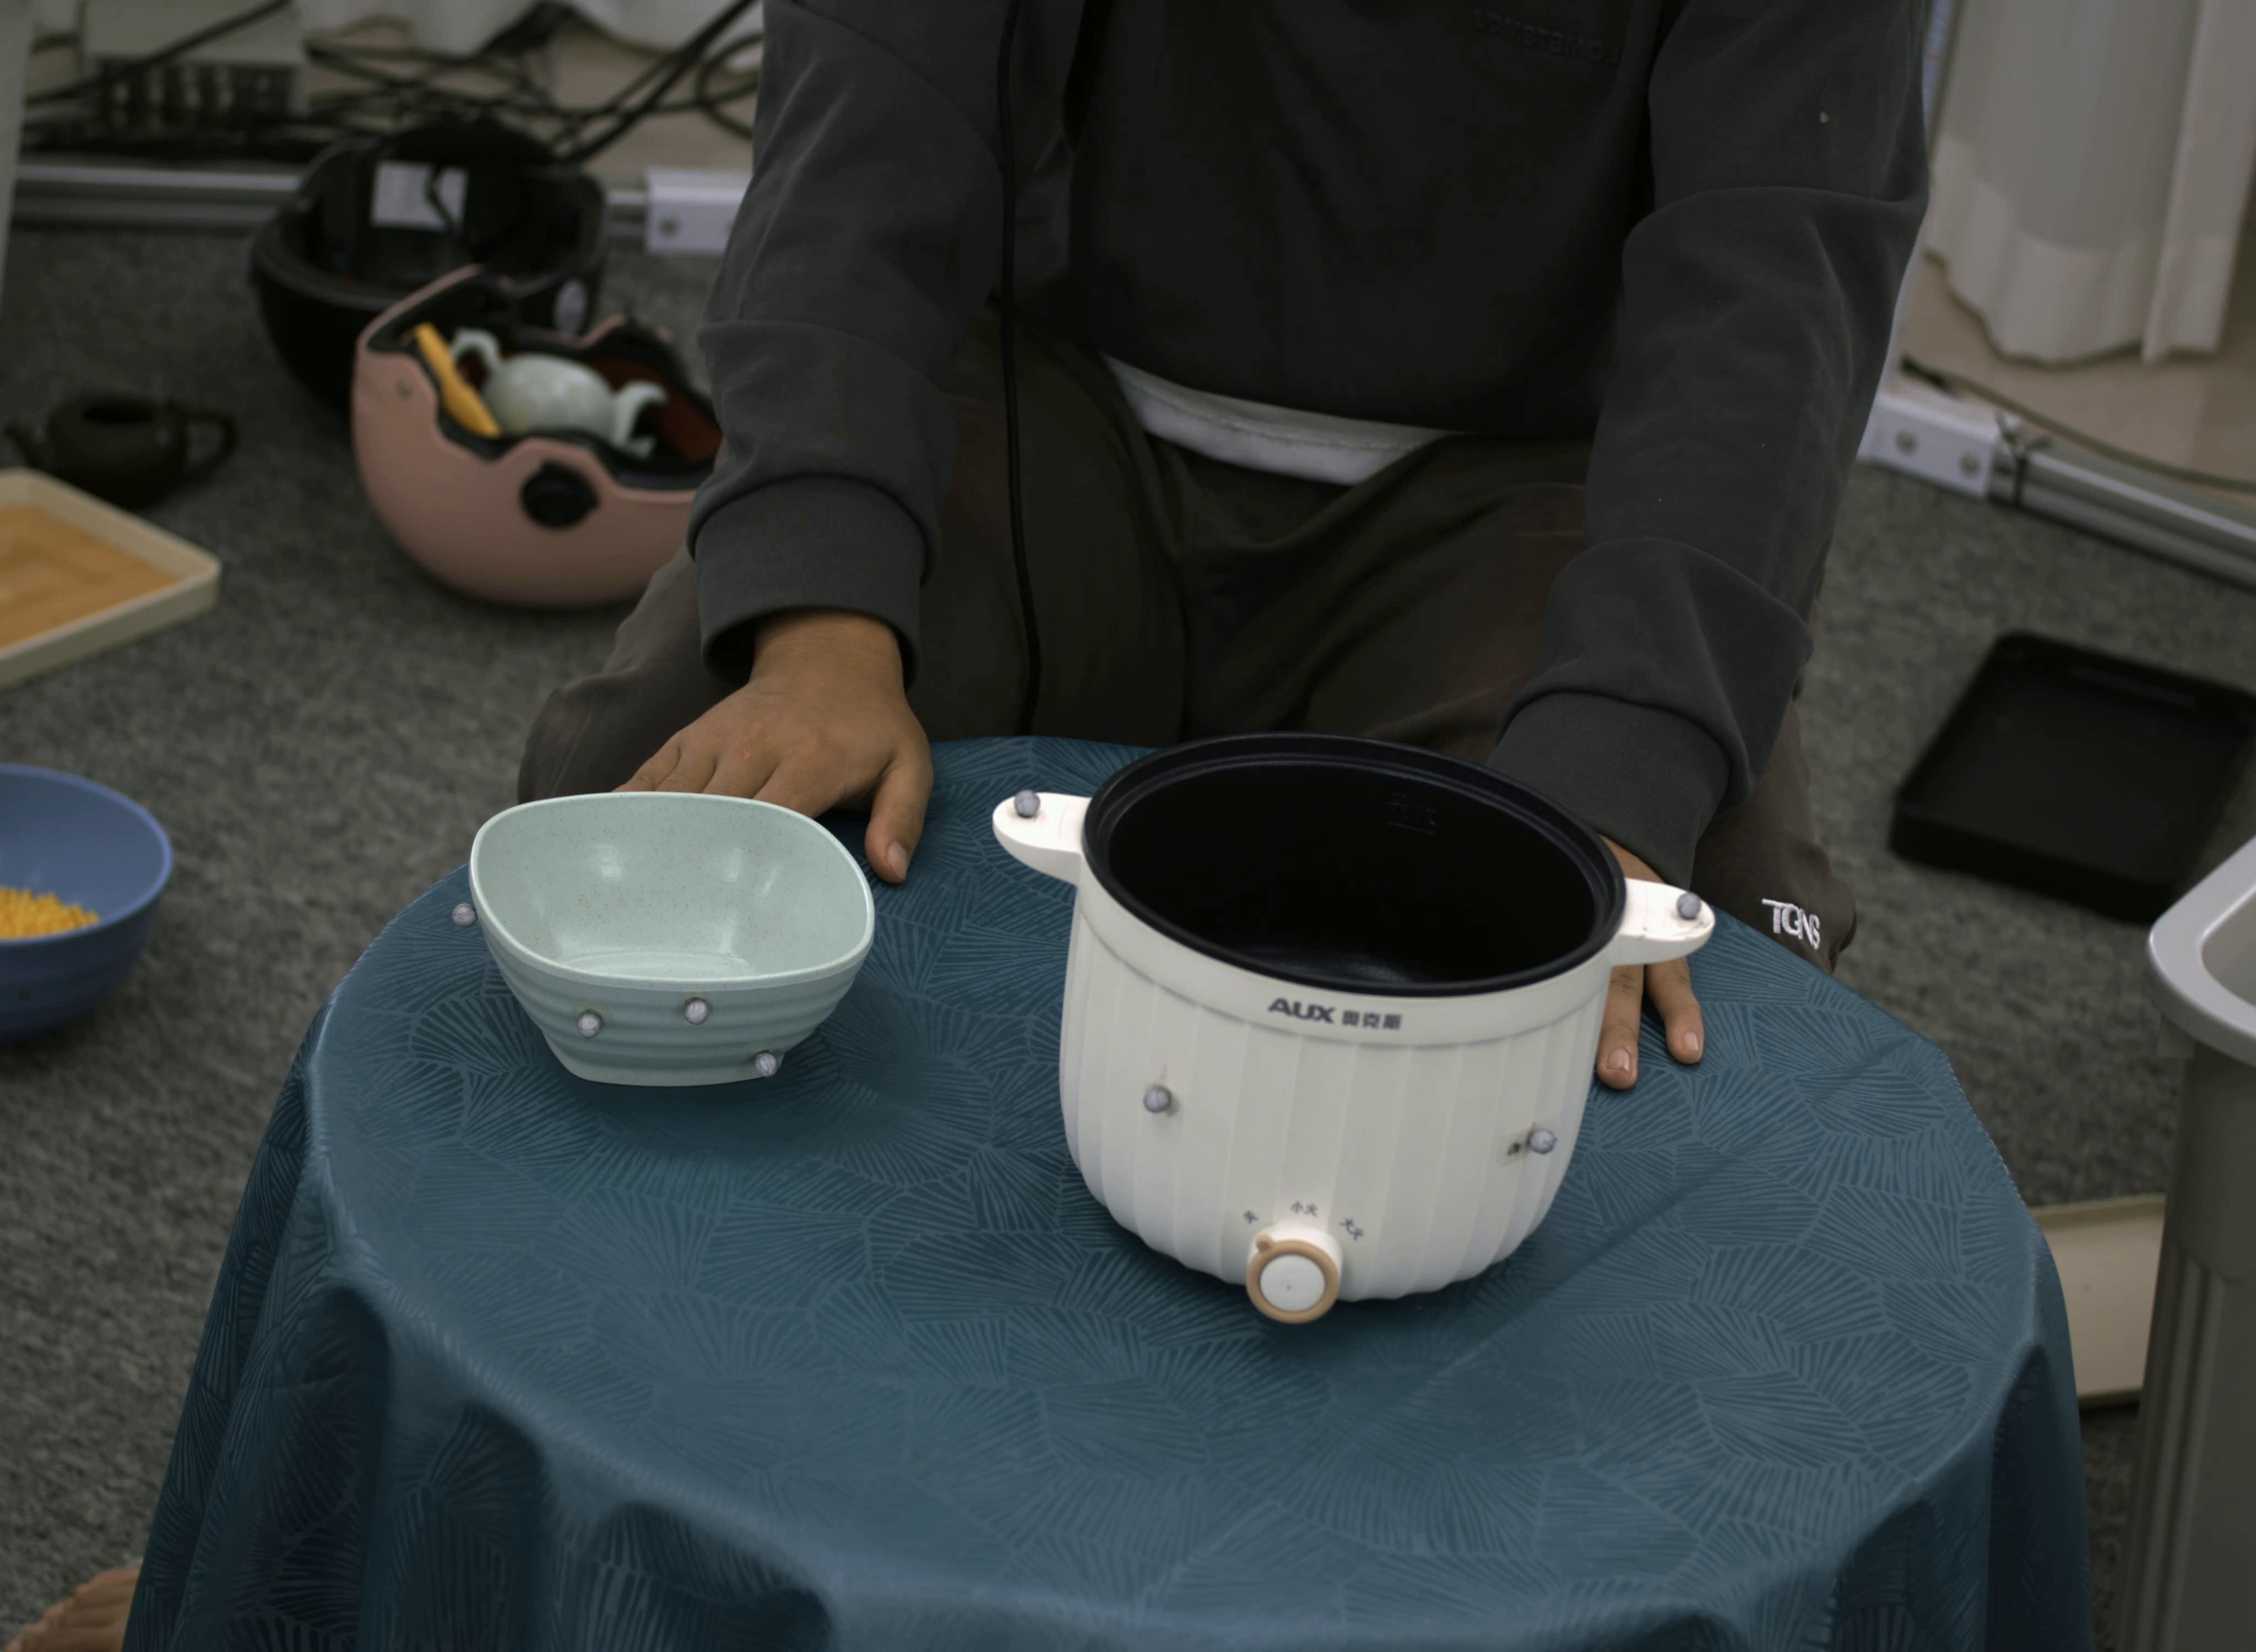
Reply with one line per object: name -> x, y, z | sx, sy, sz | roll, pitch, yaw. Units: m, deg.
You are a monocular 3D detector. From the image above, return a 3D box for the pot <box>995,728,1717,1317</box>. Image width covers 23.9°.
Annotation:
pot -> 0.069, 0.069, 1.776 | 0.240, 0.142, 0.191 | 6, 23, 2

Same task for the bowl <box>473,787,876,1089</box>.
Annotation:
bowl -> -0.160, 0.045, 1.861 | 0.151, 0.058, 0.152 | 5, 29, -3
